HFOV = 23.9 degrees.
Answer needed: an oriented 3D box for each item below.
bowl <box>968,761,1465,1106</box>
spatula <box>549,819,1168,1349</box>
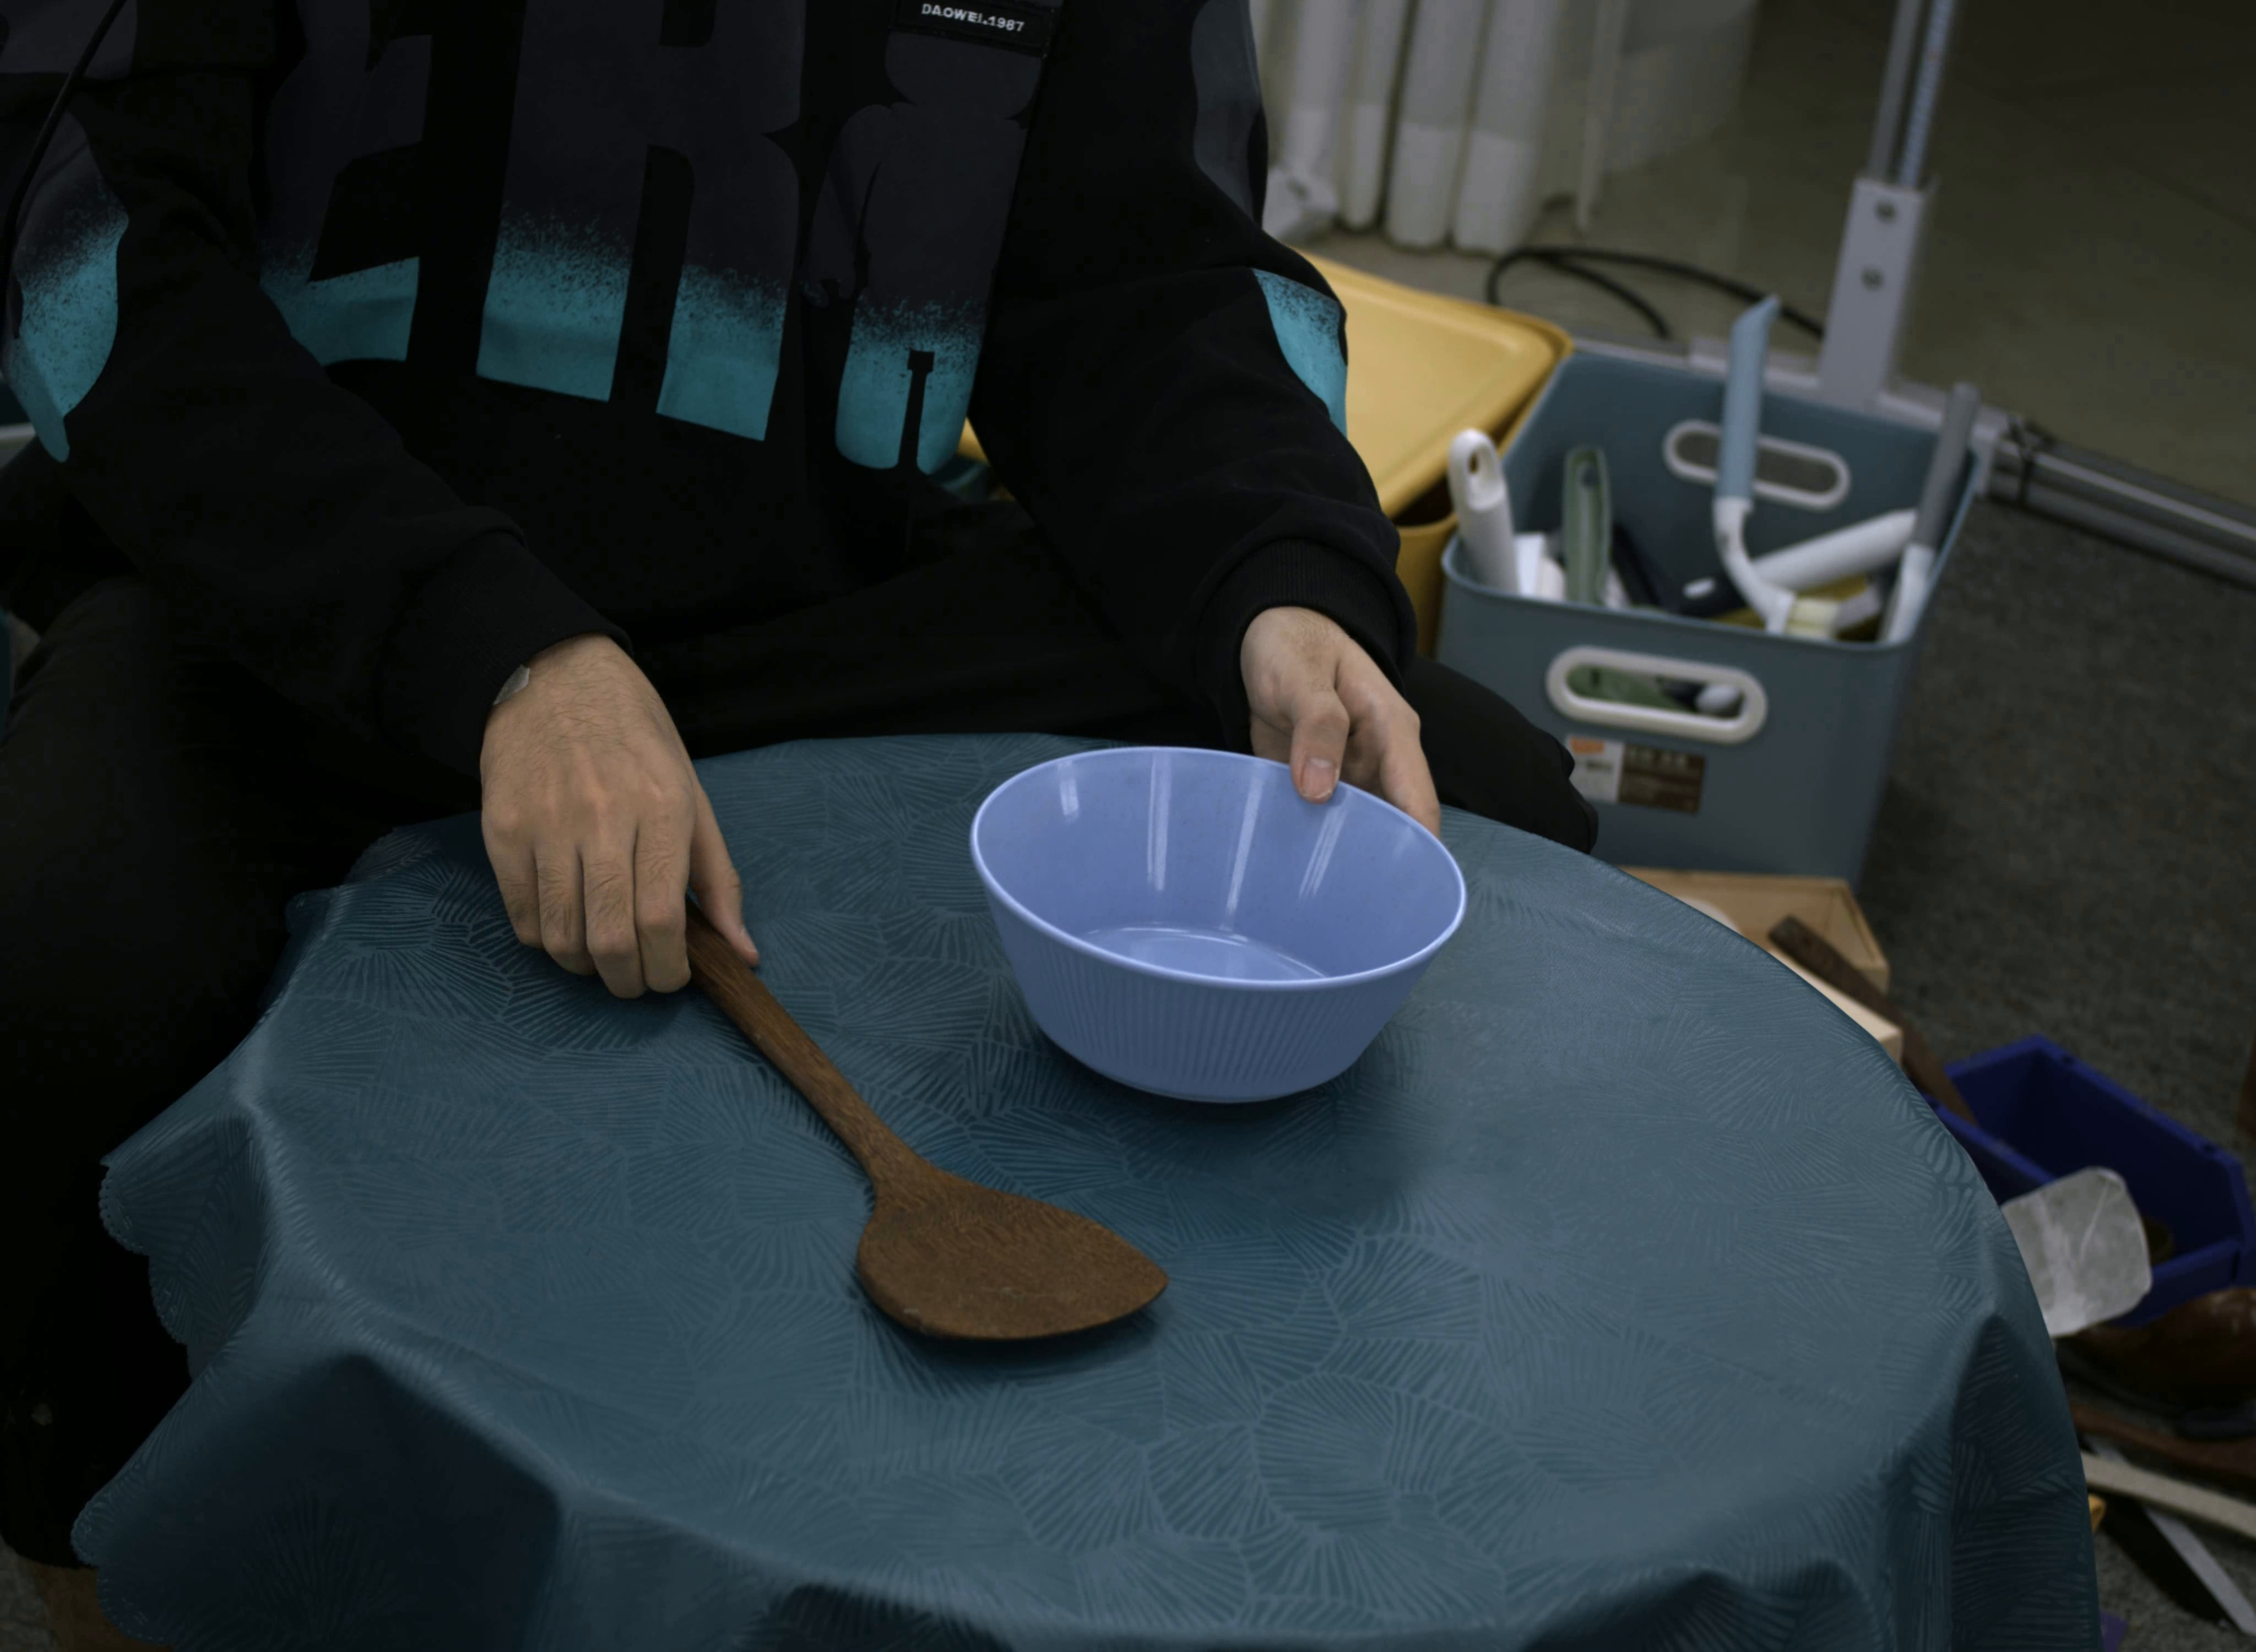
[{"bbox_3d":[0.028,0.043,1.873,0.175,0.070,0.177,6,25,-3],"label":"bowl"},{"bbox_3d":[-0.114,0.081,1.844,0.095,0.016,0.389,-9,31,-29],"label":"spatula"}]
